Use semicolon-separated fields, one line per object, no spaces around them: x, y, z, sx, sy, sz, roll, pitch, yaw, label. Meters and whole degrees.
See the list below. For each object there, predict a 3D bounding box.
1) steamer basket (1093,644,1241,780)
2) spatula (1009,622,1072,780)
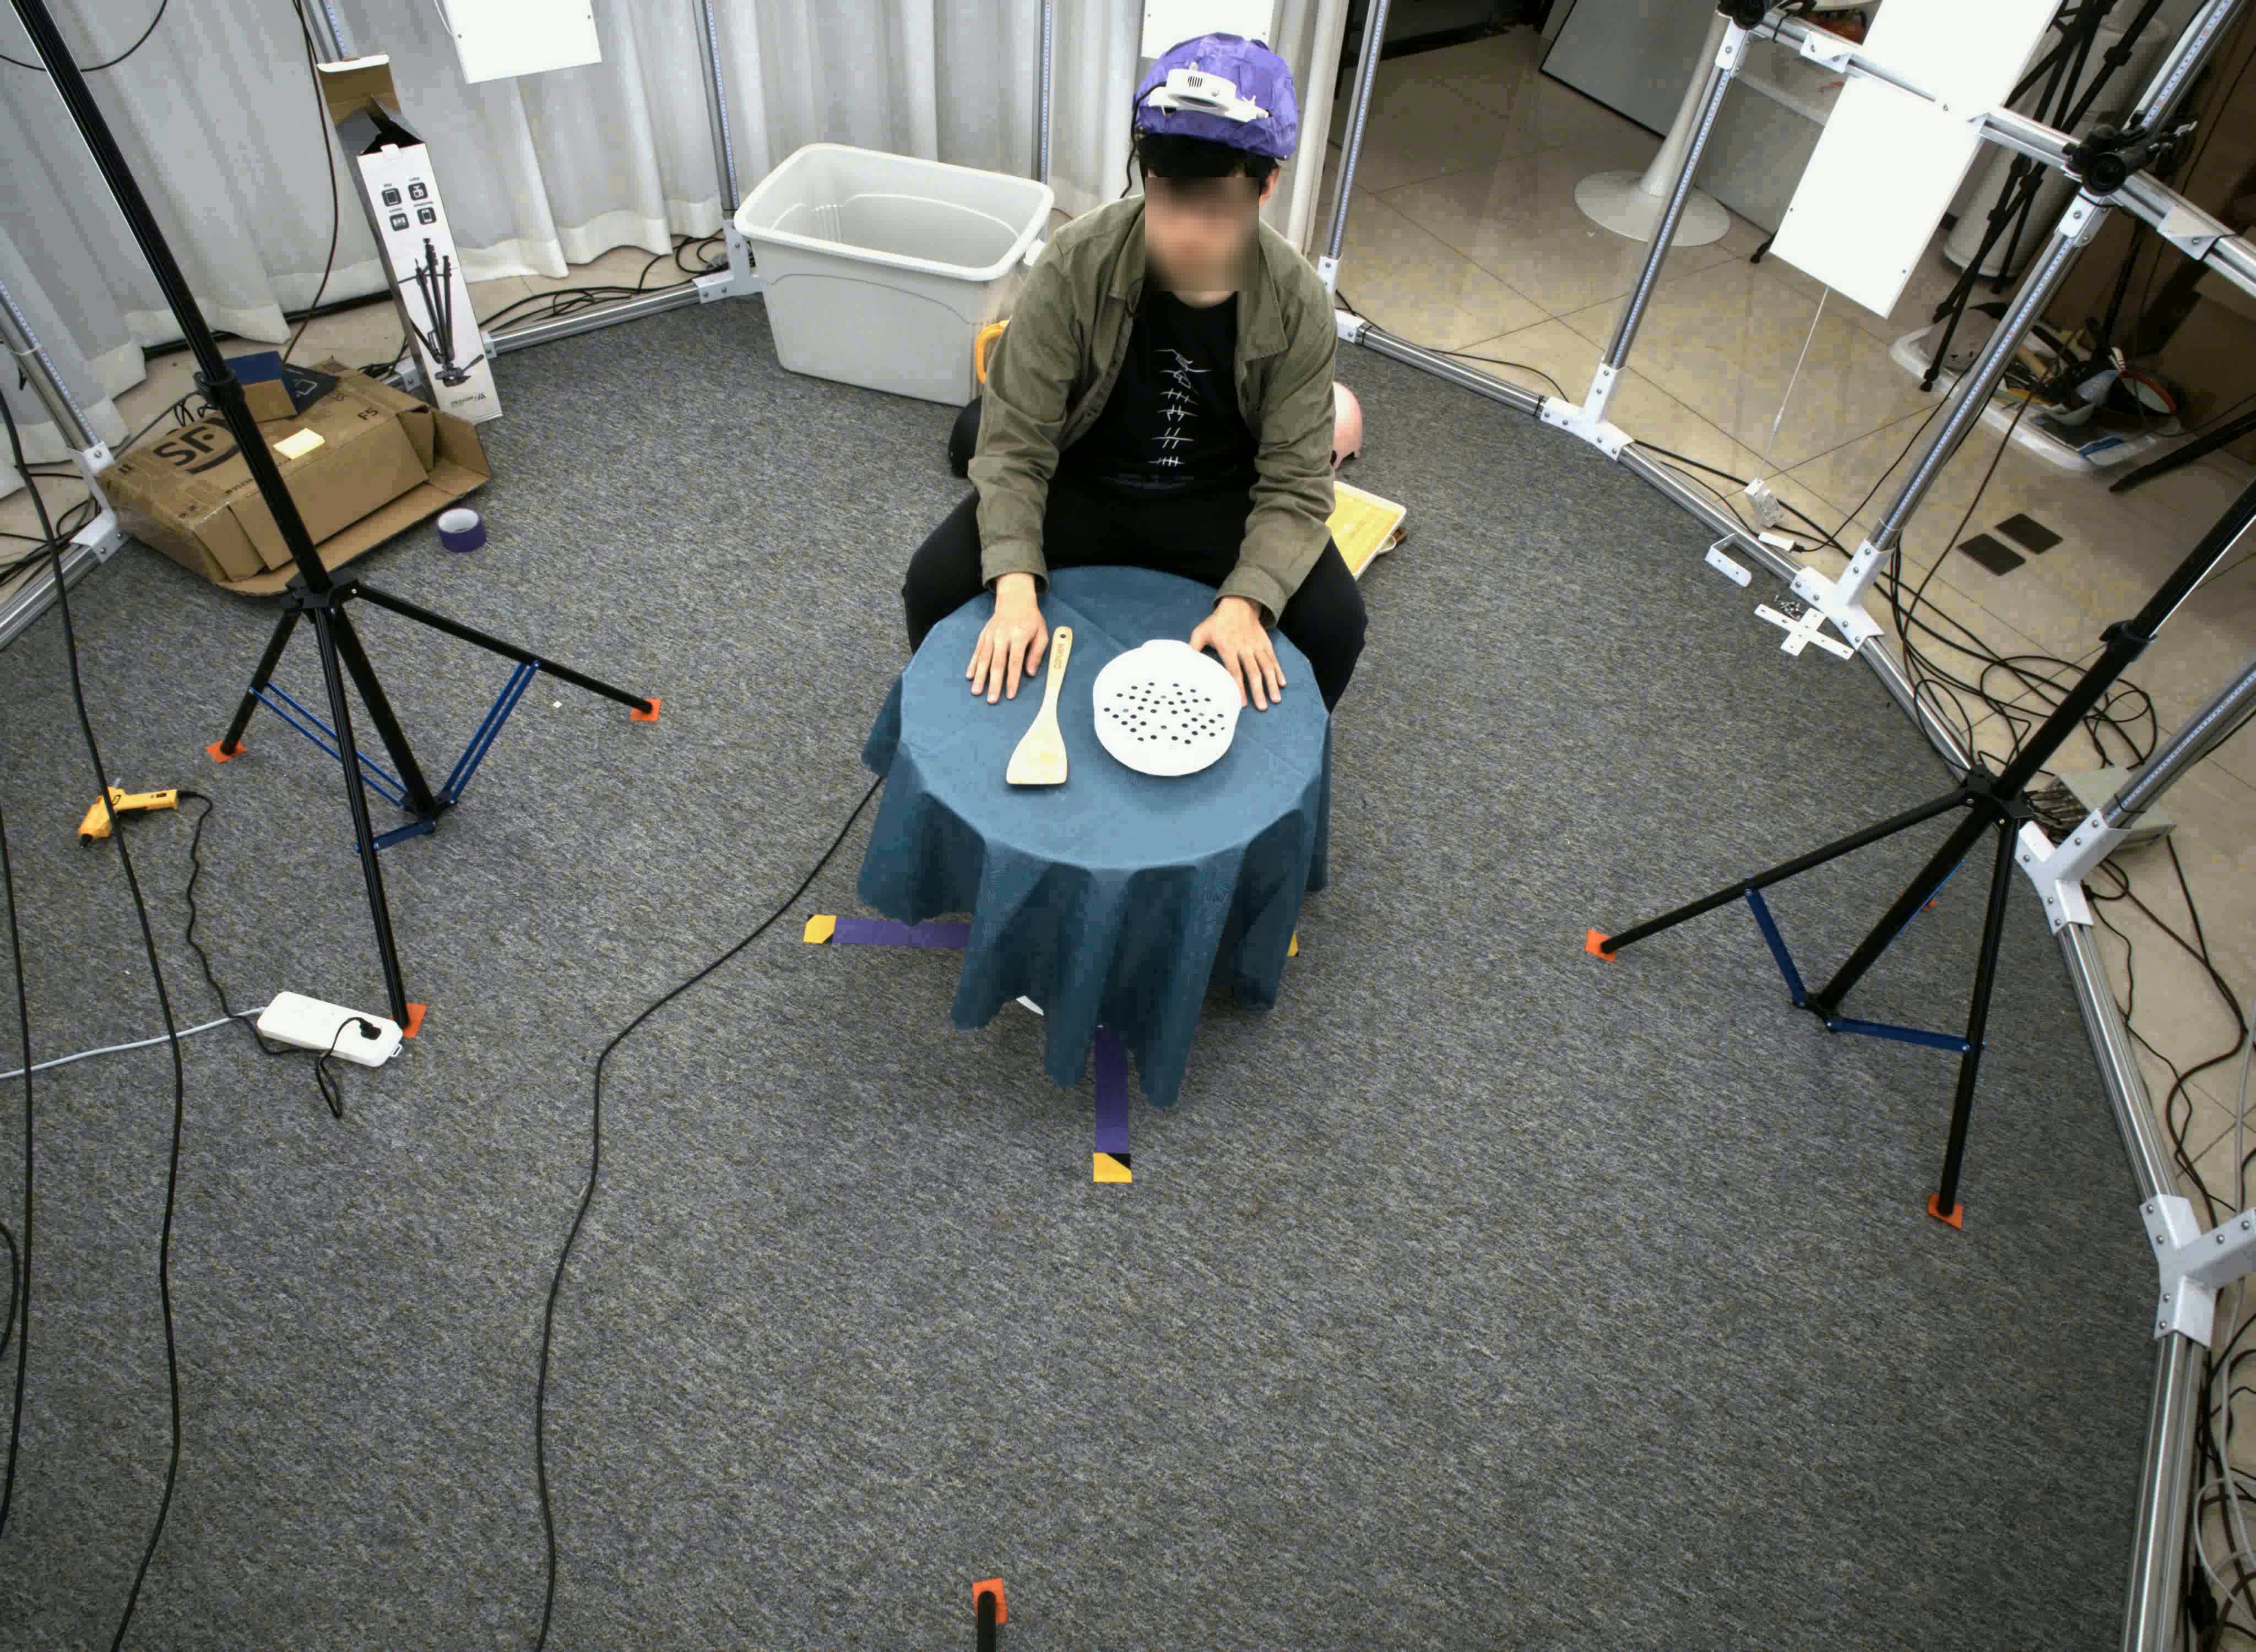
0.051;-0.152;1.754;0.201;0.067;0.236;3;47;-3;steamer basket
-0.106;-0.178;1.794;0.080;0.016;0.335;6;49;0;spatula
